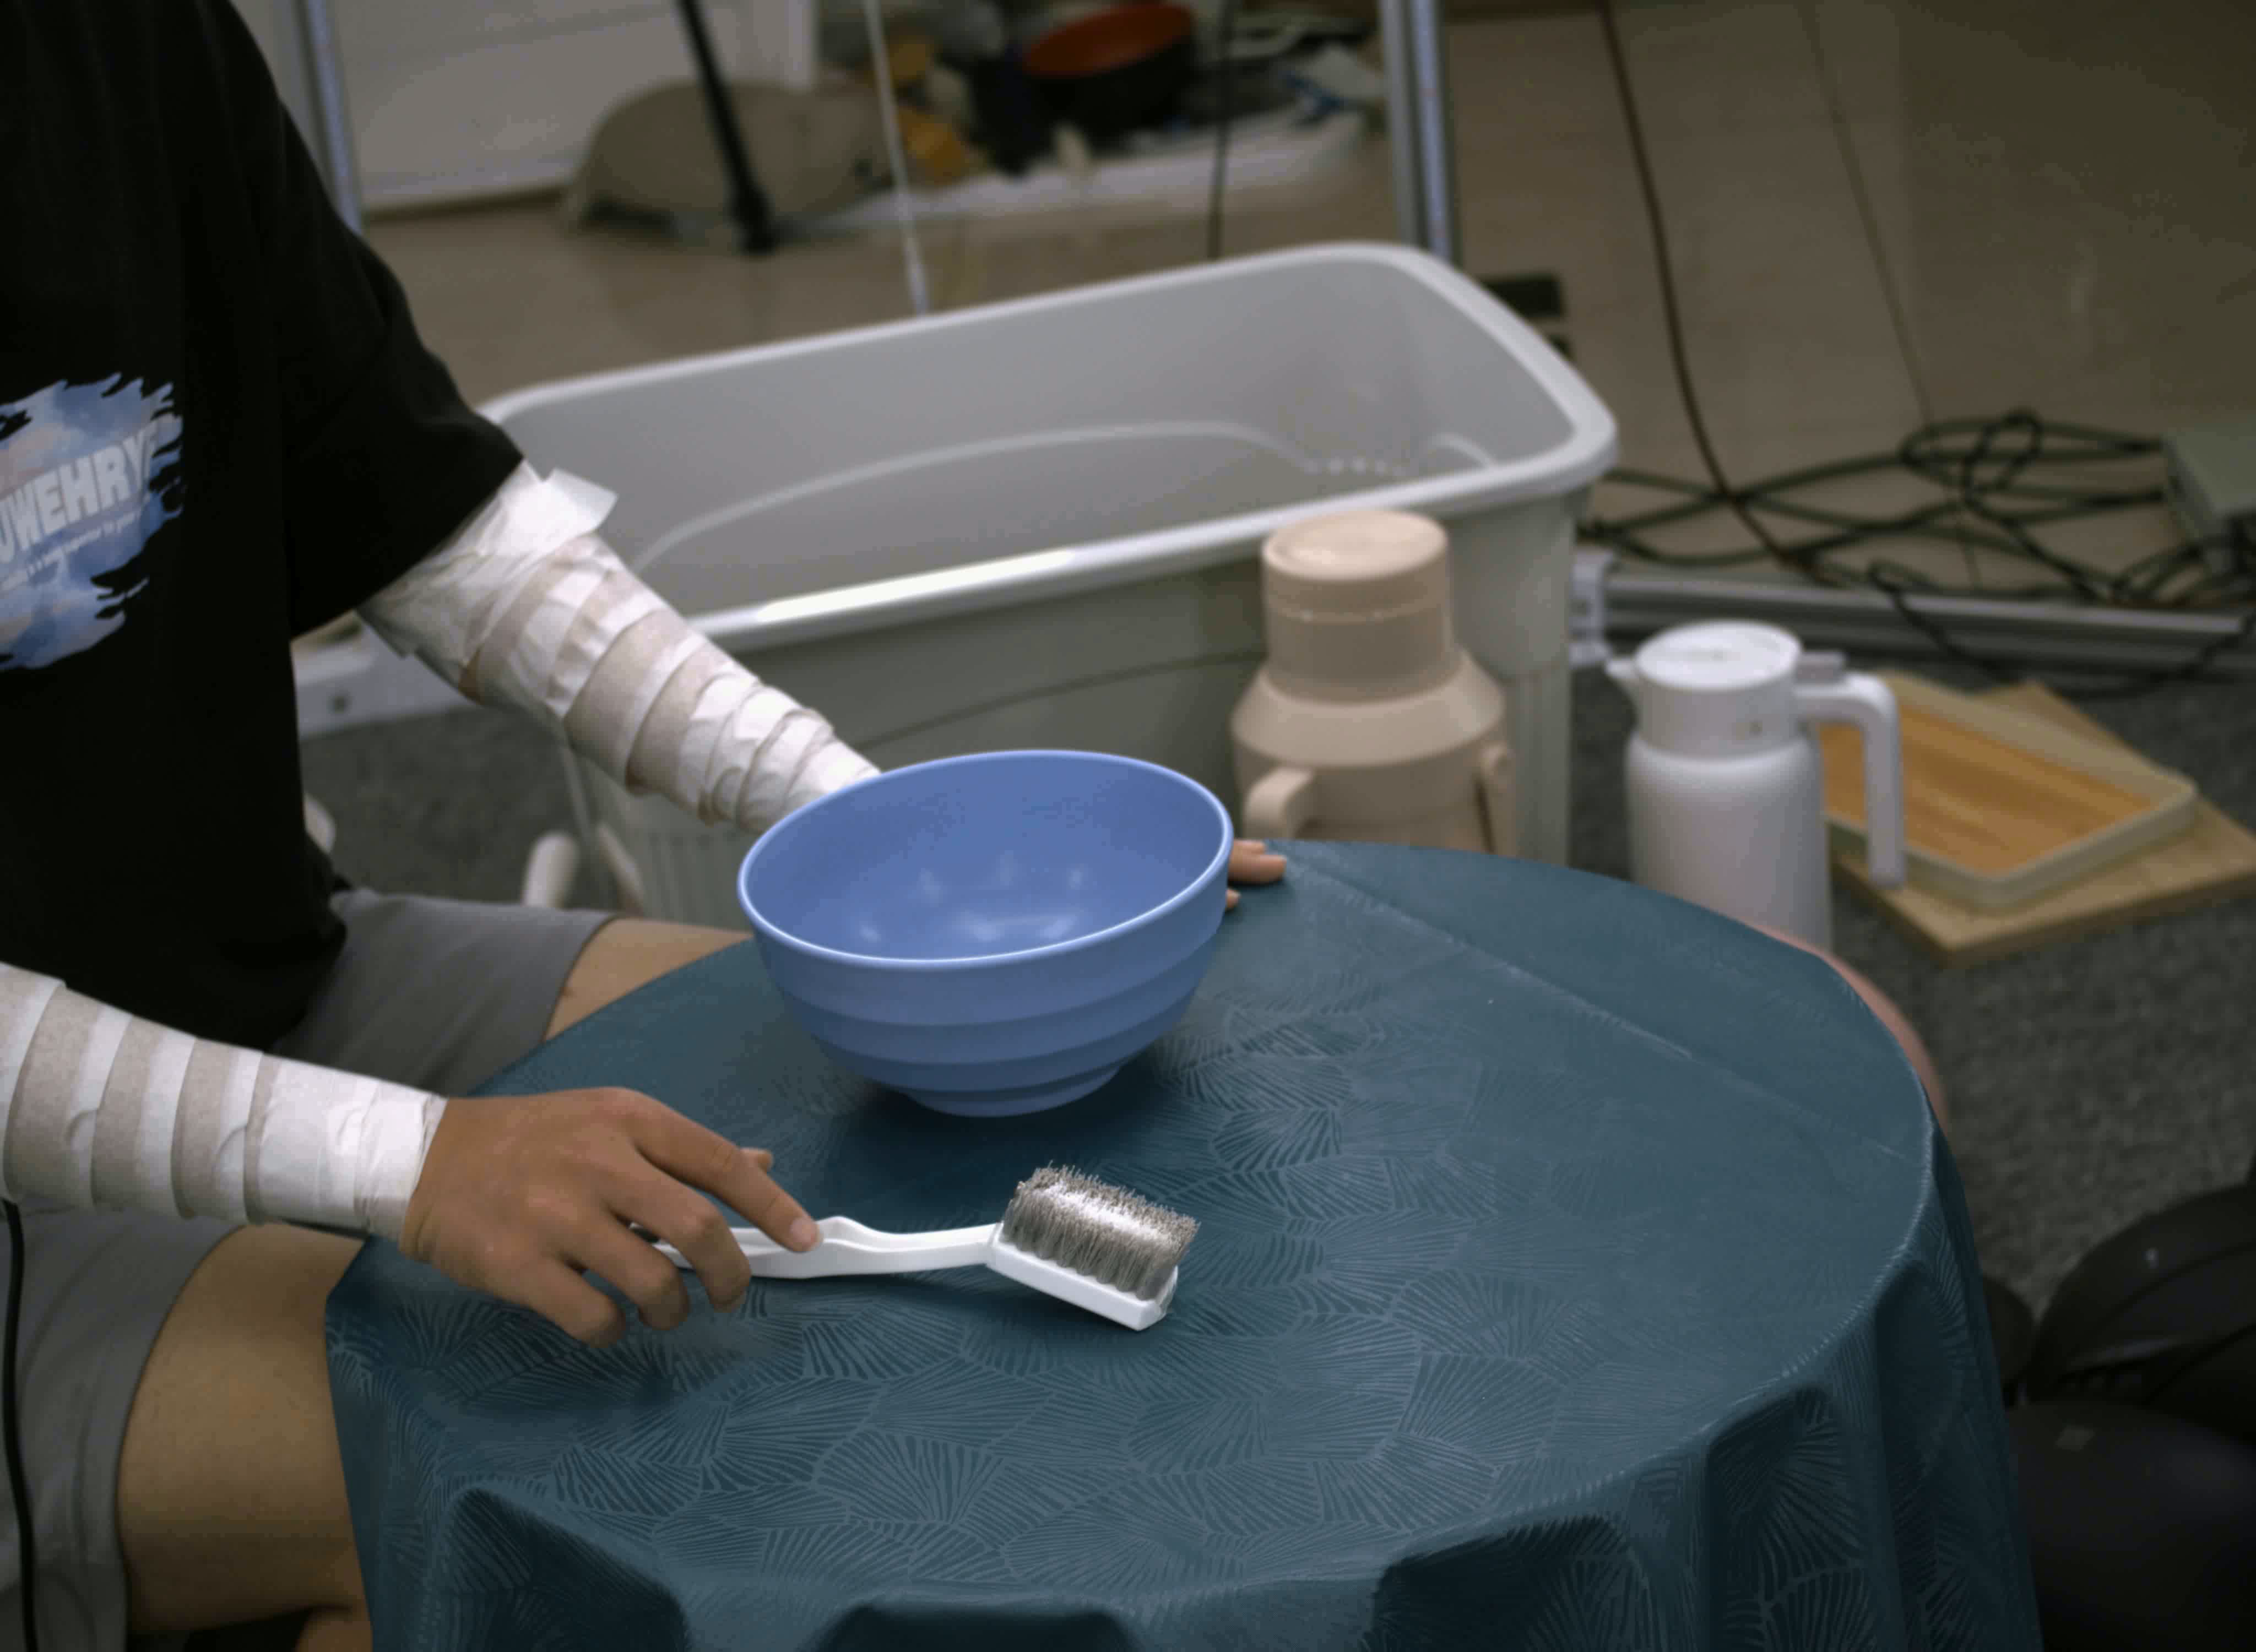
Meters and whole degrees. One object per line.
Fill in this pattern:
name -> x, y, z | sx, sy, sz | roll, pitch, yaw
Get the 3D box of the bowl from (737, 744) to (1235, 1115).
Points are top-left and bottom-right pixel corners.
bowl -> -0.051, 0.051, 2.234 | 0.196, 0.097, 0.193 | -5, 26, 3

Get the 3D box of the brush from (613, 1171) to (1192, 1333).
brush -> -0.088, 0.145, 2.097 | 0.243, 0.051, 0.034 | 7, 31, 27
